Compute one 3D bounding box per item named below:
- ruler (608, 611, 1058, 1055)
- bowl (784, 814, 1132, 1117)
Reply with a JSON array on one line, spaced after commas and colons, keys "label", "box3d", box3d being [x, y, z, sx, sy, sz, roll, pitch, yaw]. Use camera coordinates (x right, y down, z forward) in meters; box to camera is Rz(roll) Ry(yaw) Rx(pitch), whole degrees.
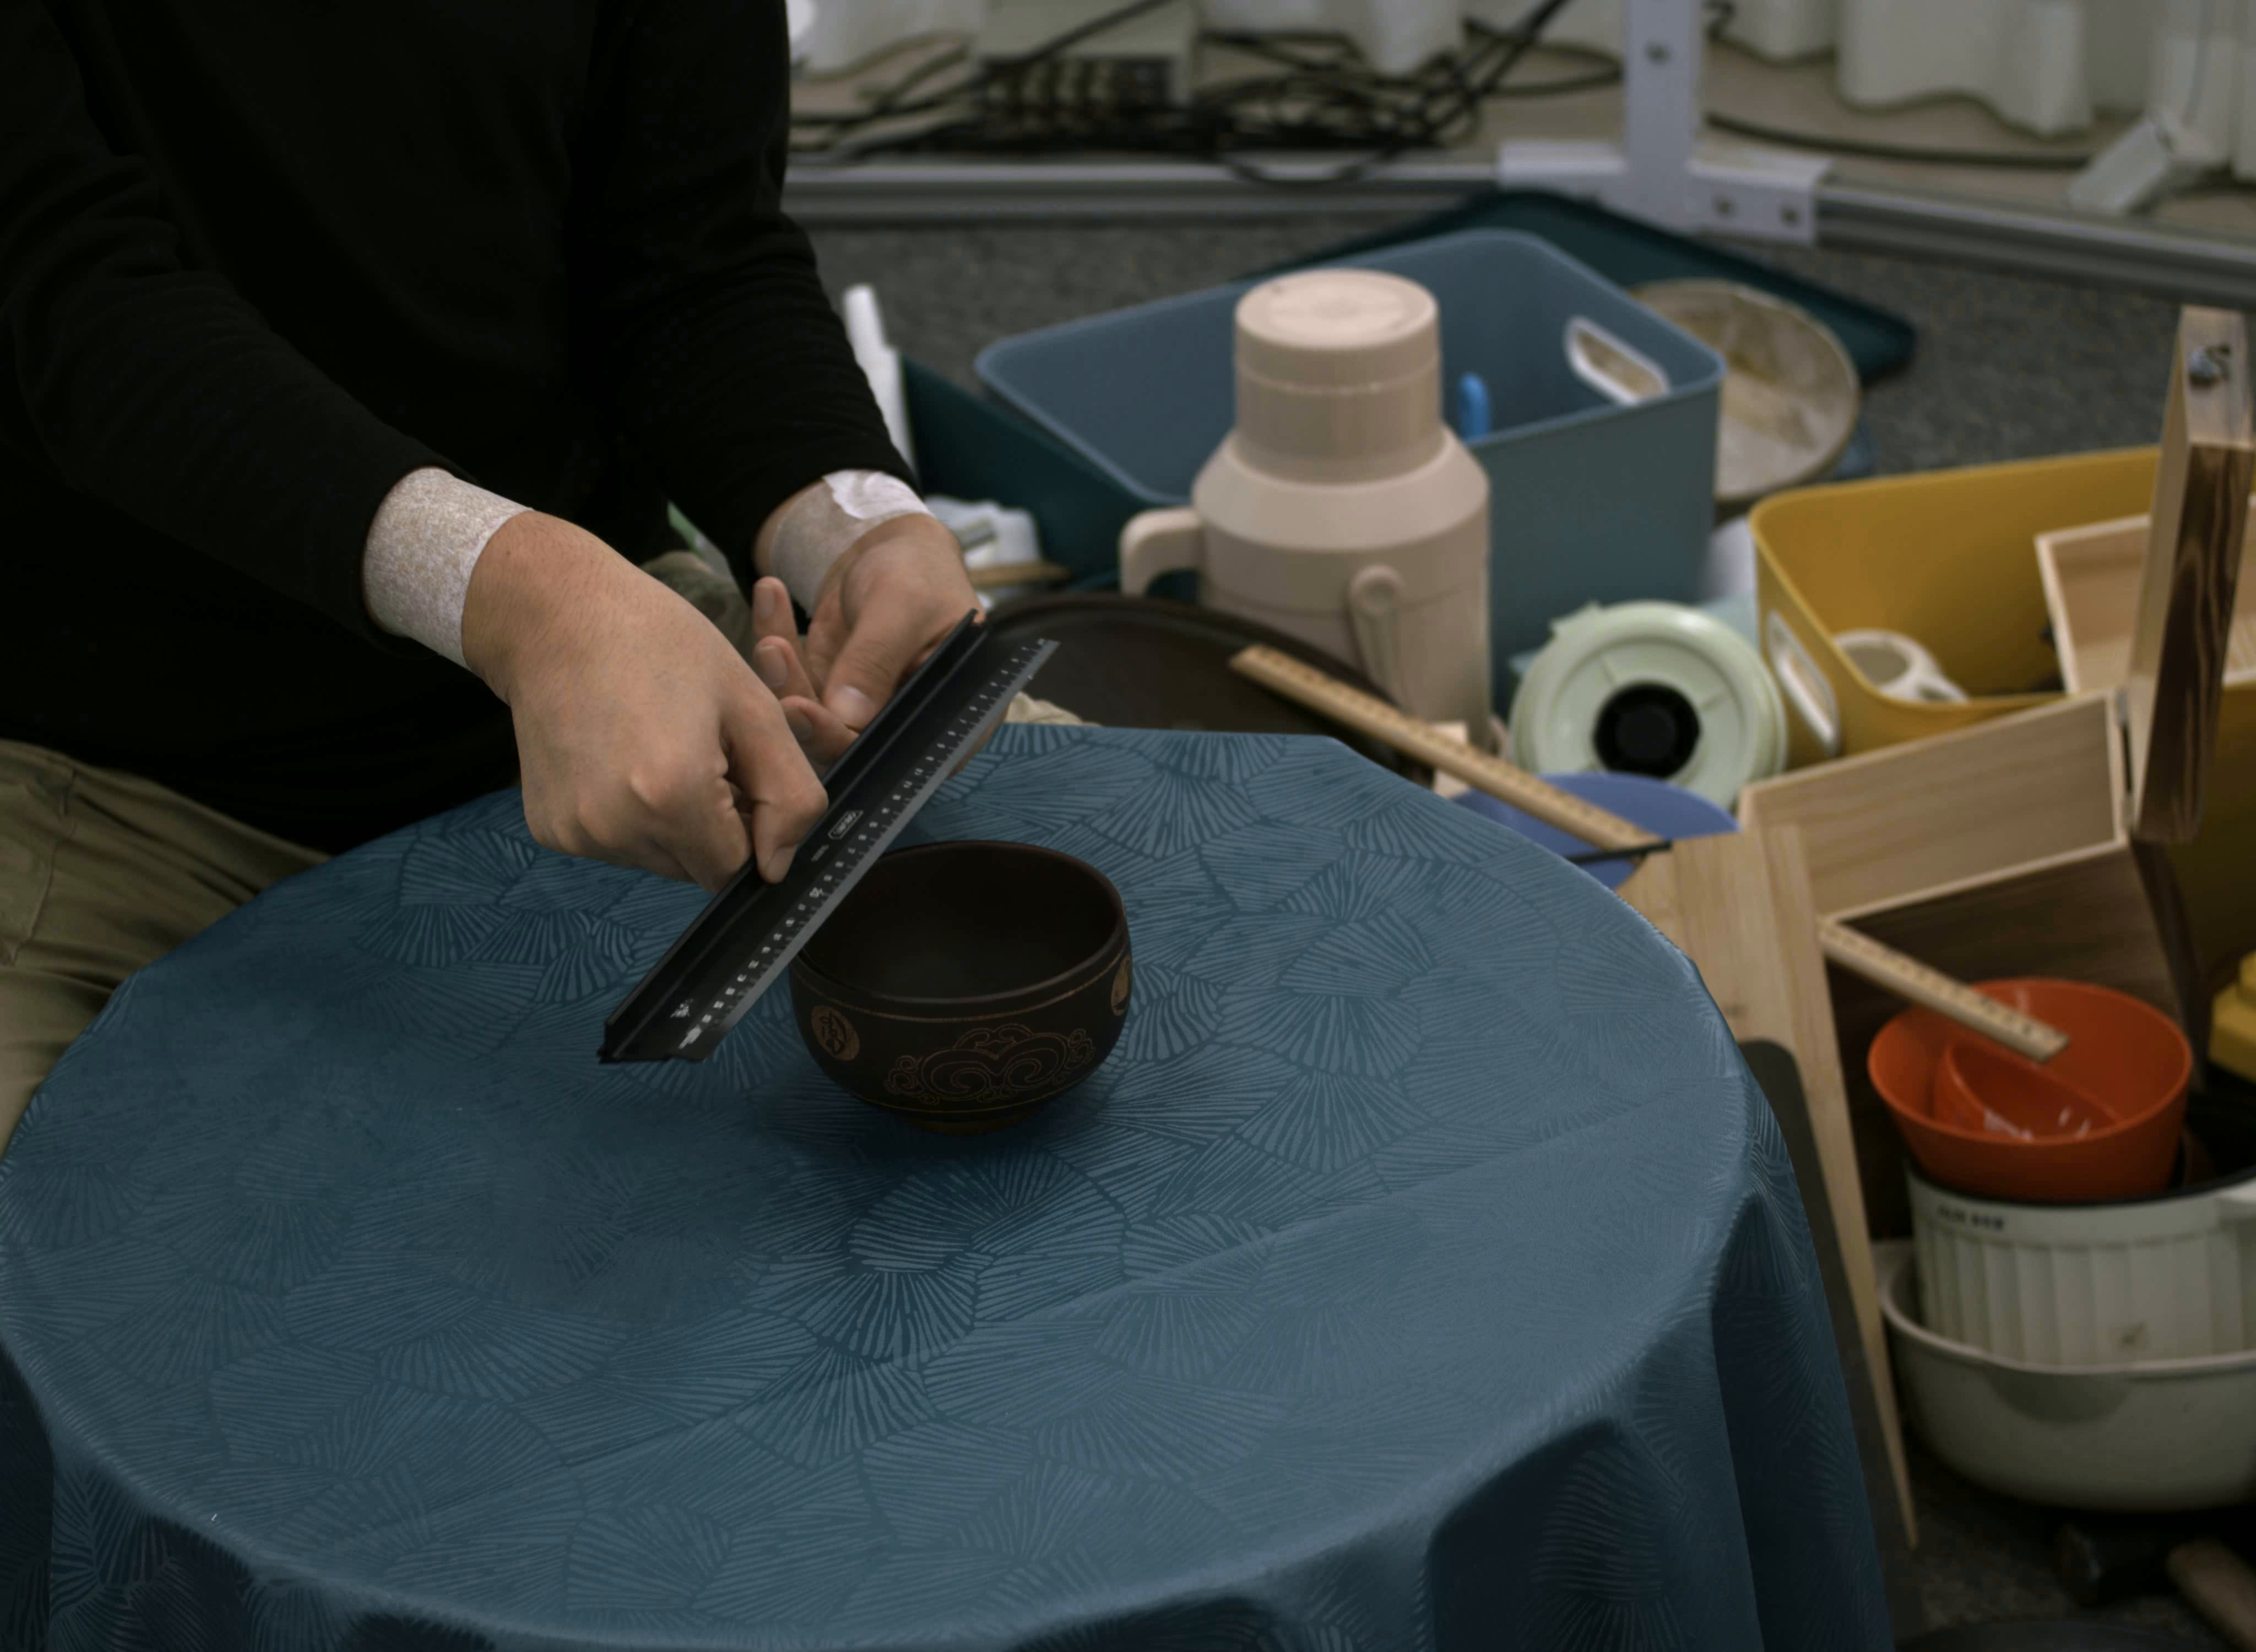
[{"label": "ruler", "box3d": [-0.096, -0.003, 1.892, 0.039, 0.017, 0.318, 1, 26, 22]}, {"label": "bowl", "box3d": [-0.058, 0.055, 1.908, 0.117, 0.069, 0.120, 2, 31, -1]}]
